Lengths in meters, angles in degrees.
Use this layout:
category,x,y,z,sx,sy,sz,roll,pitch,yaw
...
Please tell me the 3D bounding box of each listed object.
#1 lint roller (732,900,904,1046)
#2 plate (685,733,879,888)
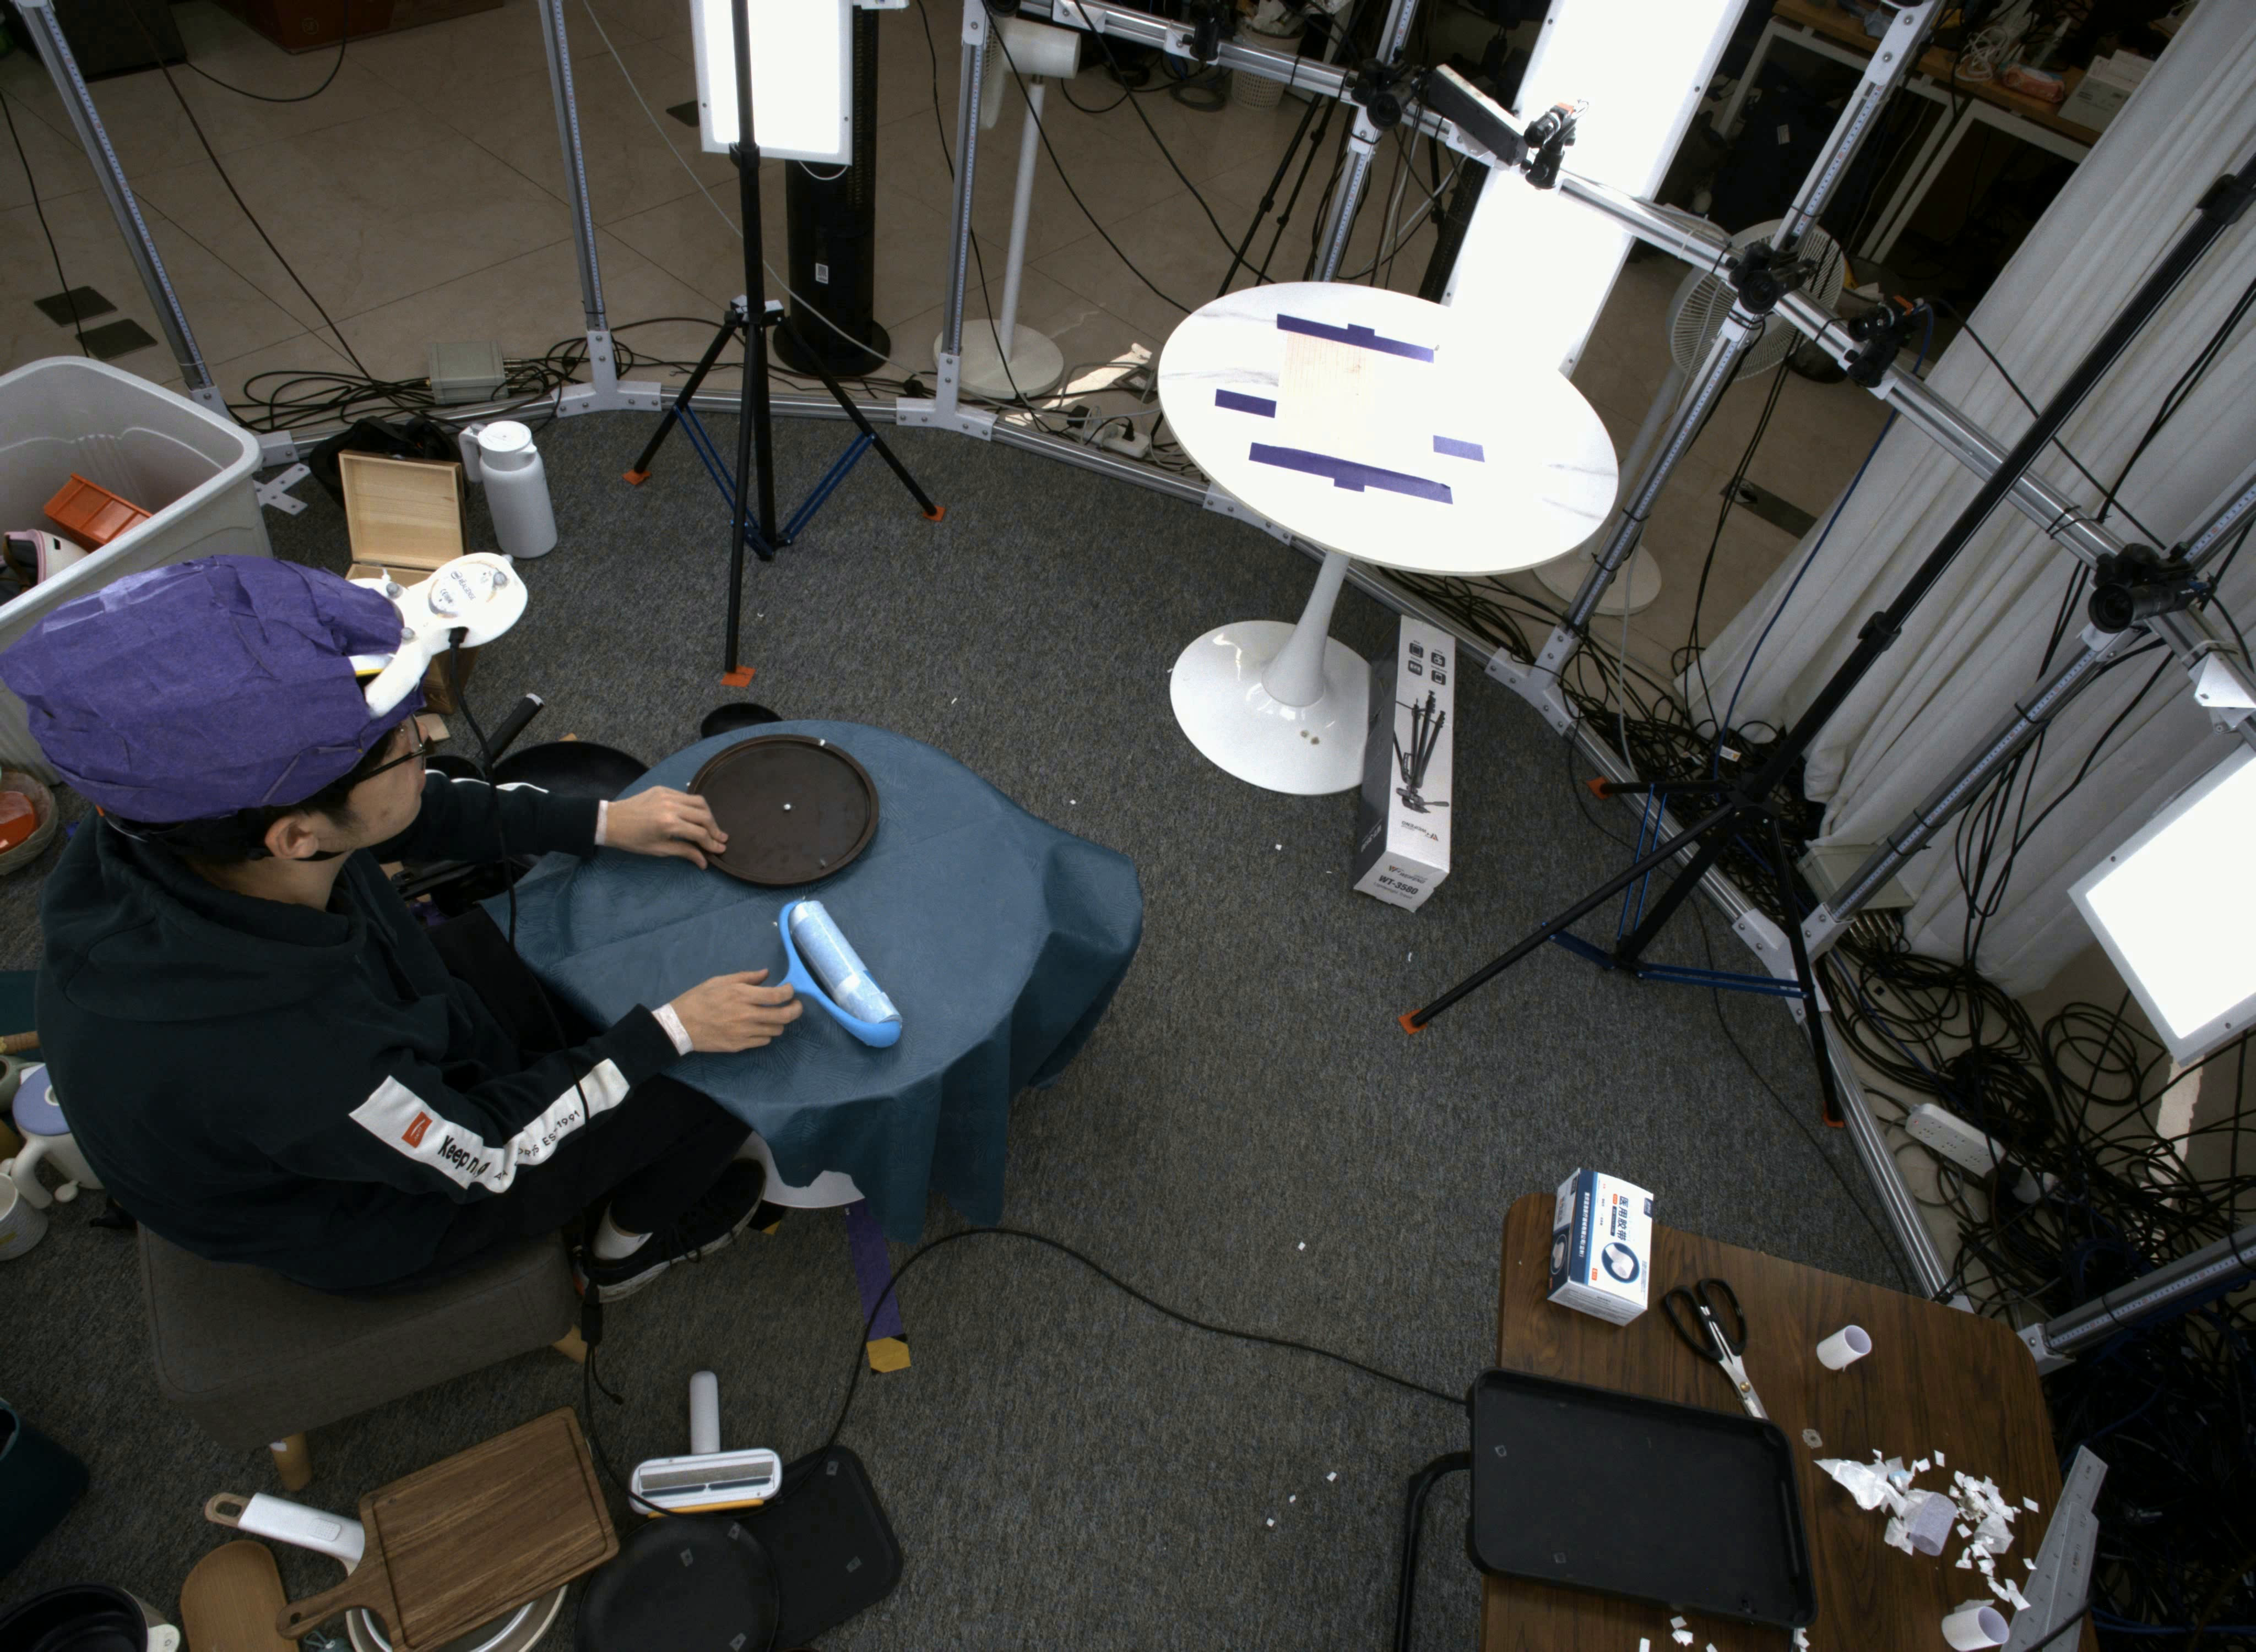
category,x,y,z,sx,sy,sz,roll,pitch,yaw
lint roller,-0.392,0.199,1.554,0.181,0.069,0.224,-30,68,-32
plate,-0.459,-0.023,1.722,0.254,0.029,0.250,8,51,-9
